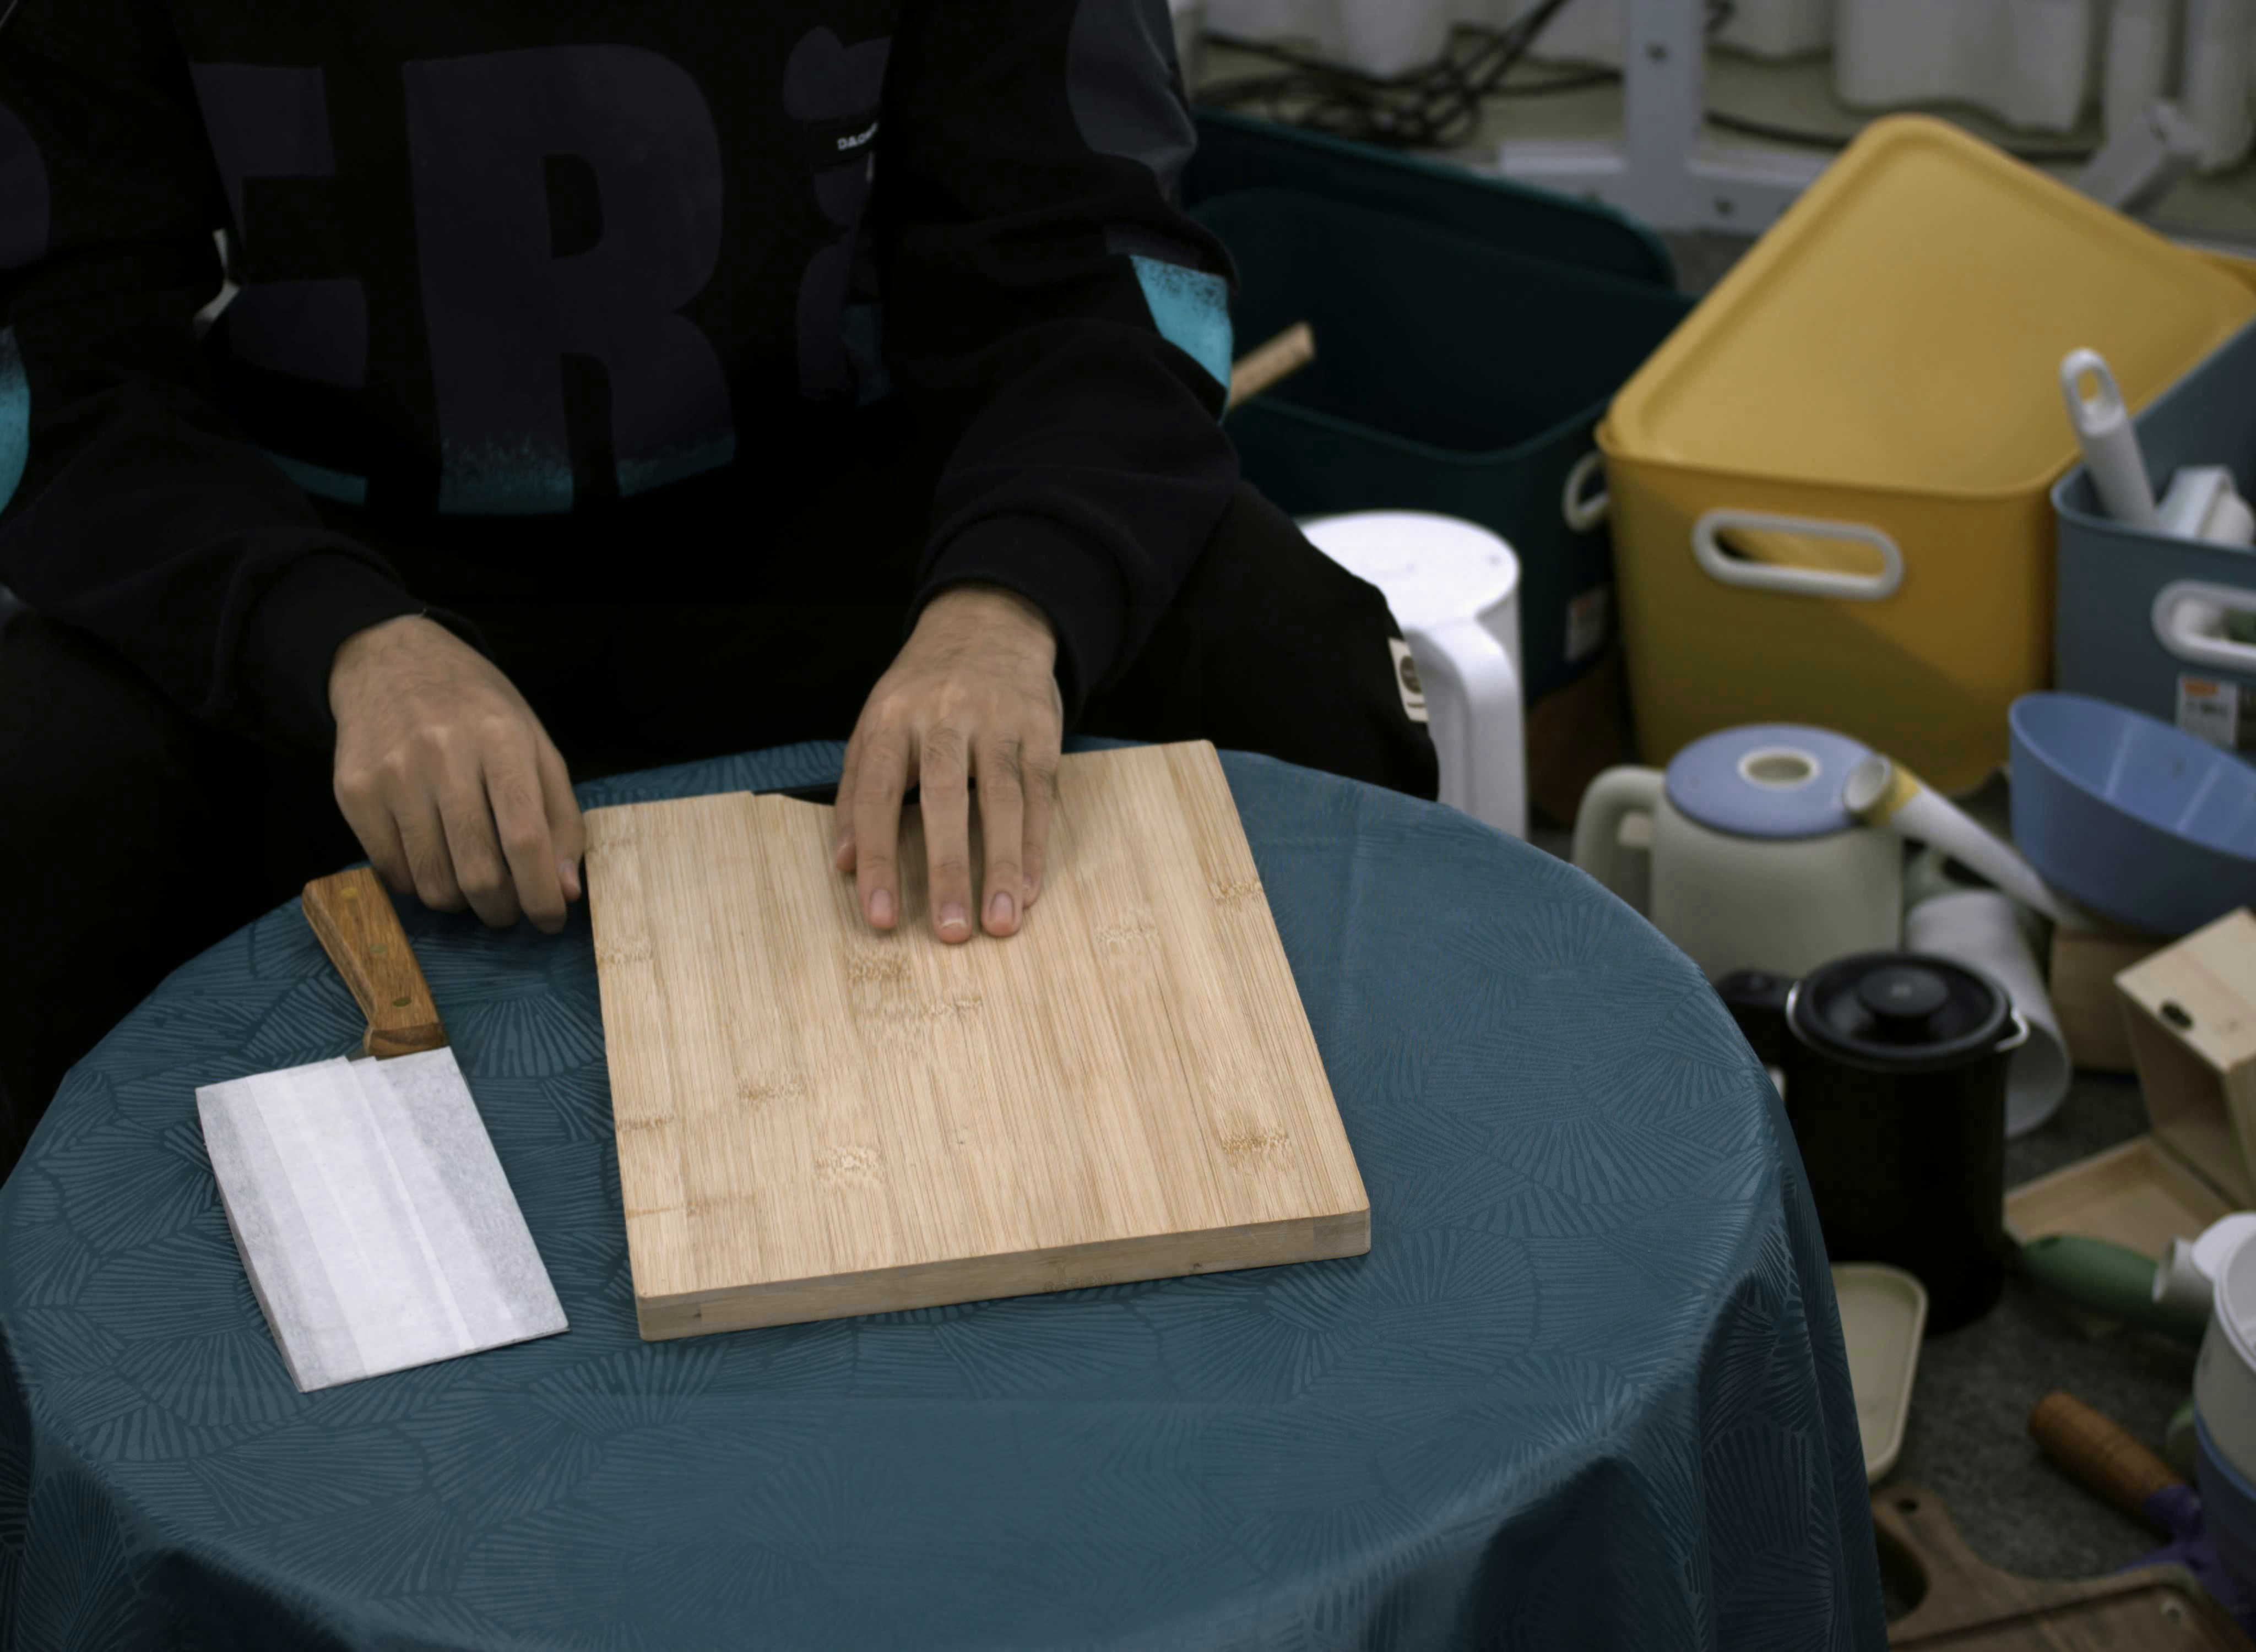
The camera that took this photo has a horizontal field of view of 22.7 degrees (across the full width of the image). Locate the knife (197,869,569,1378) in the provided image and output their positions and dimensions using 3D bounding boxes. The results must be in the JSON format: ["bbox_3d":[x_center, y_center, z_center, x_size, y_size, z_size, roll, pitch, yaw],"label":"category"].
[{"bbox_3d":[-0.267,0.100,1.914,0.093,0.021,0.309,-12,31,-14],"label":"knife"}]

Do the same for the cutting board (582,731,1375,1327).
[{"bbox_3d":[-0.061,0.065,1.959,0.250,0.023,0.353,-6,28,-7],"label":"cutting board"}]
